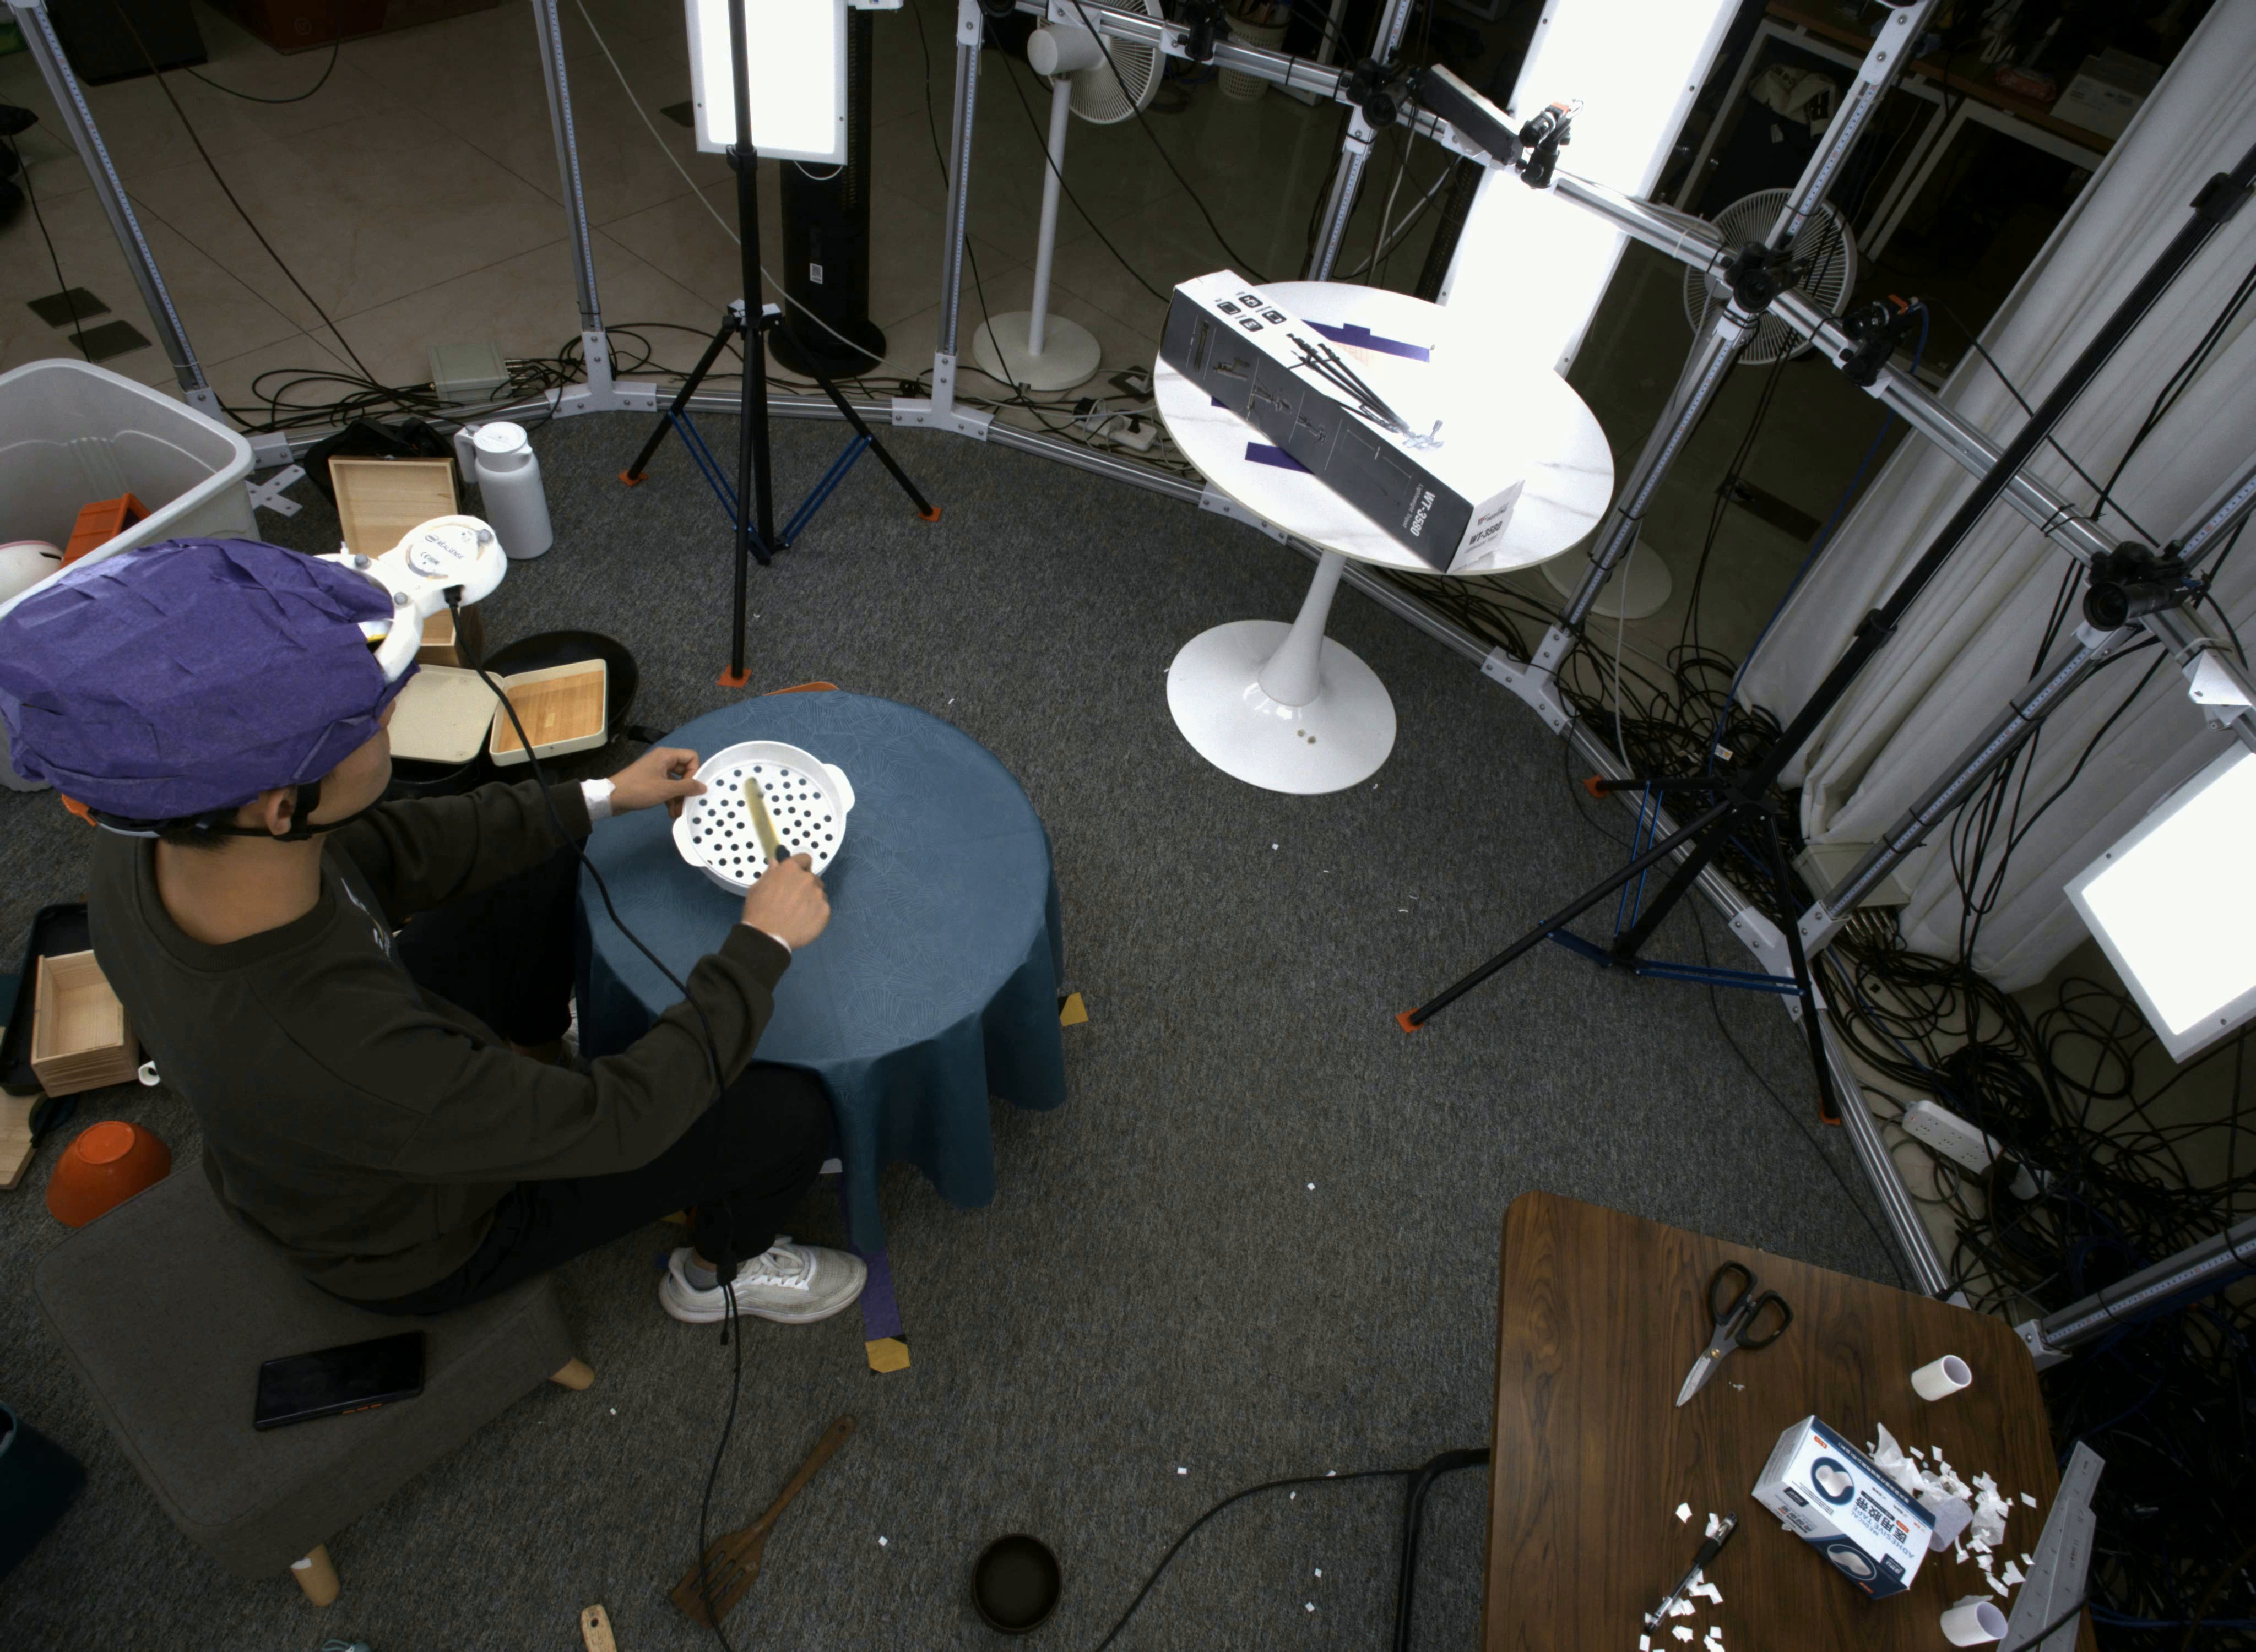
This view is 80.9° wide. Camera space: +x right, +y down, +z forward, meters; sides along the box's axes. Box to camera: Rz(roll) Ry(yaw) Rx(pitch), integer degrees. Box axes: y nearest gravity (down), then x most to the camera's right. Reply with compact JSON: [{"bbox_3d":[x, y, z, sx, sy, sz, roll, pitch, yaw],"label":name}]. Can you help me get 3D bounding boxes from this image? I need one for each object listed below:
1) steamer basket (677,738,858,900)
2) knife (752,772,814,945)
[{"bbox_3d":[-0.460,-0.008,1.661,0.231,0.069,0.201,-23,80,-24],"label":"steamer basket"},{"bbox_3d":[-0.413,0.037,1.525,0.027,0.083,0.280,-11,48,-23],"label":"knife"}]
